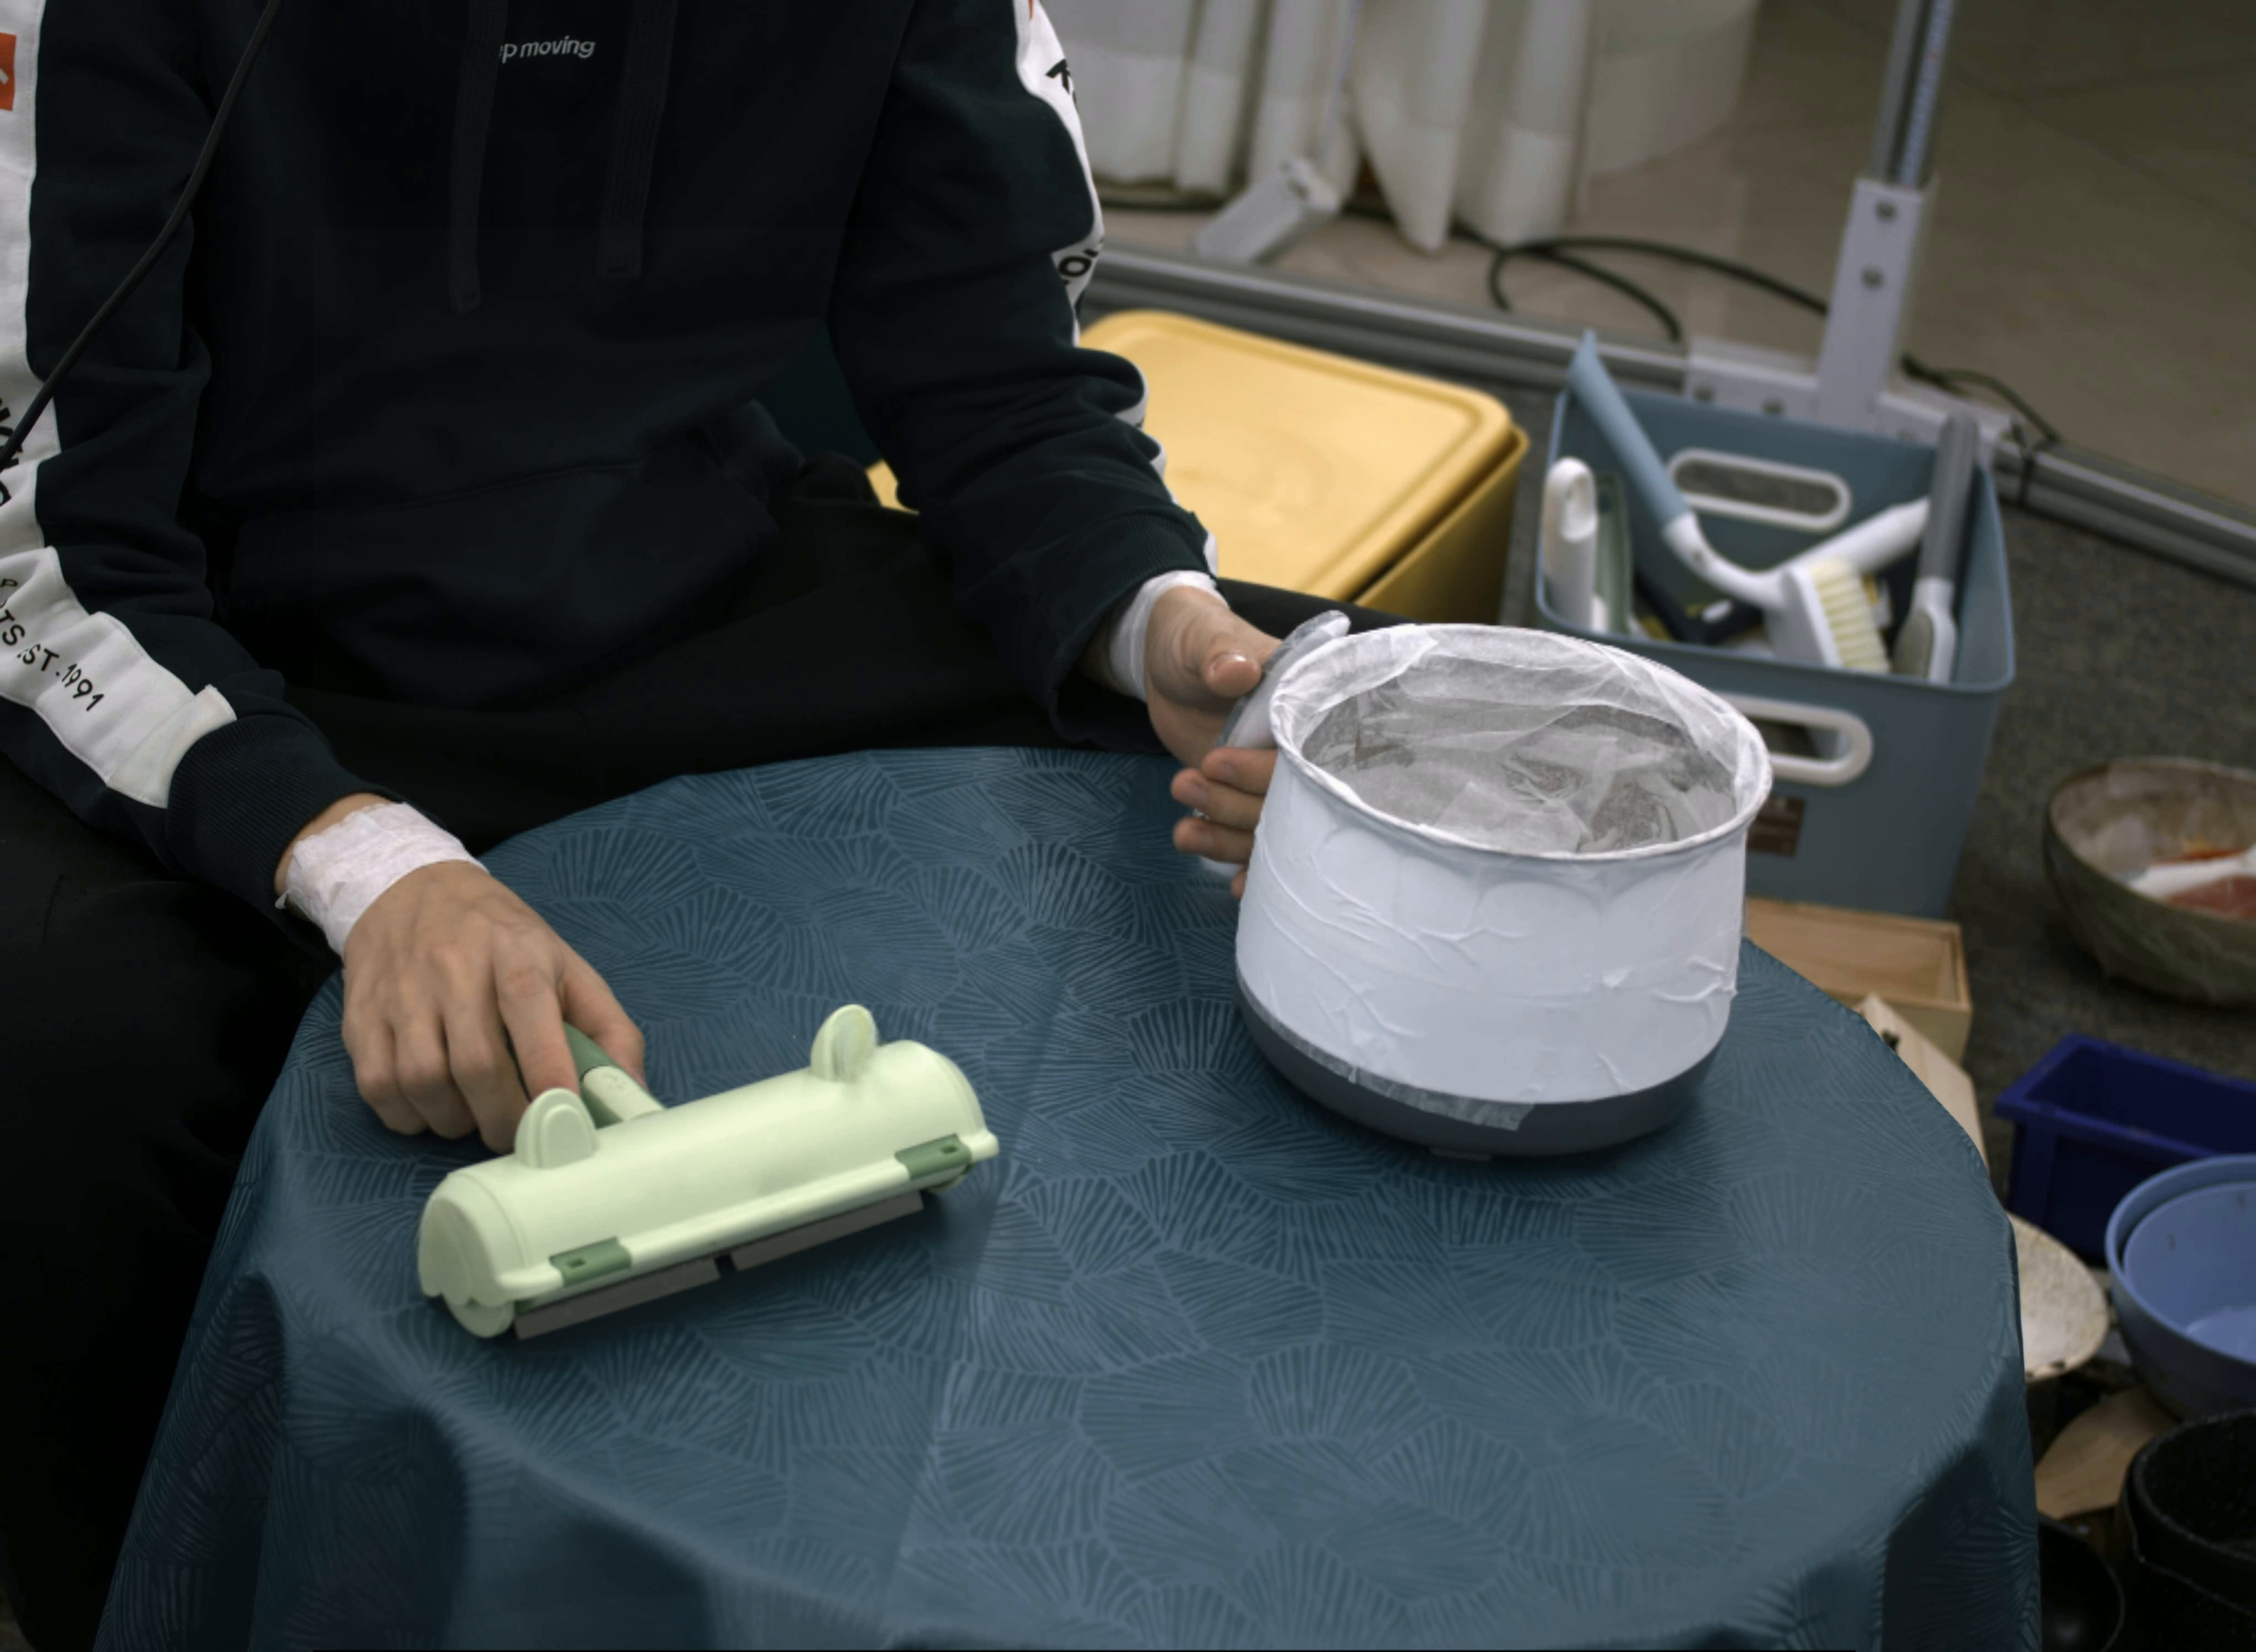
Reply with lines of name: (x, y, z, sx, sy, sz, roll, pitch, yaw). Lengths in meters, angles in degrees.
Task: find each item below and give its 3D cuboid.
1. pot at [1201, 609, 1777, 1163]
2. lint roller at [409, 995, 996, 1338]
pot: (0.113, 0.014, 1.890, 0.177, 0.136, 0.235, -15, 34, -38)
lint roller: (-0.170, 0.083, 1.757, 0.197, 0.082, 0.185, -15, 39, -36)
